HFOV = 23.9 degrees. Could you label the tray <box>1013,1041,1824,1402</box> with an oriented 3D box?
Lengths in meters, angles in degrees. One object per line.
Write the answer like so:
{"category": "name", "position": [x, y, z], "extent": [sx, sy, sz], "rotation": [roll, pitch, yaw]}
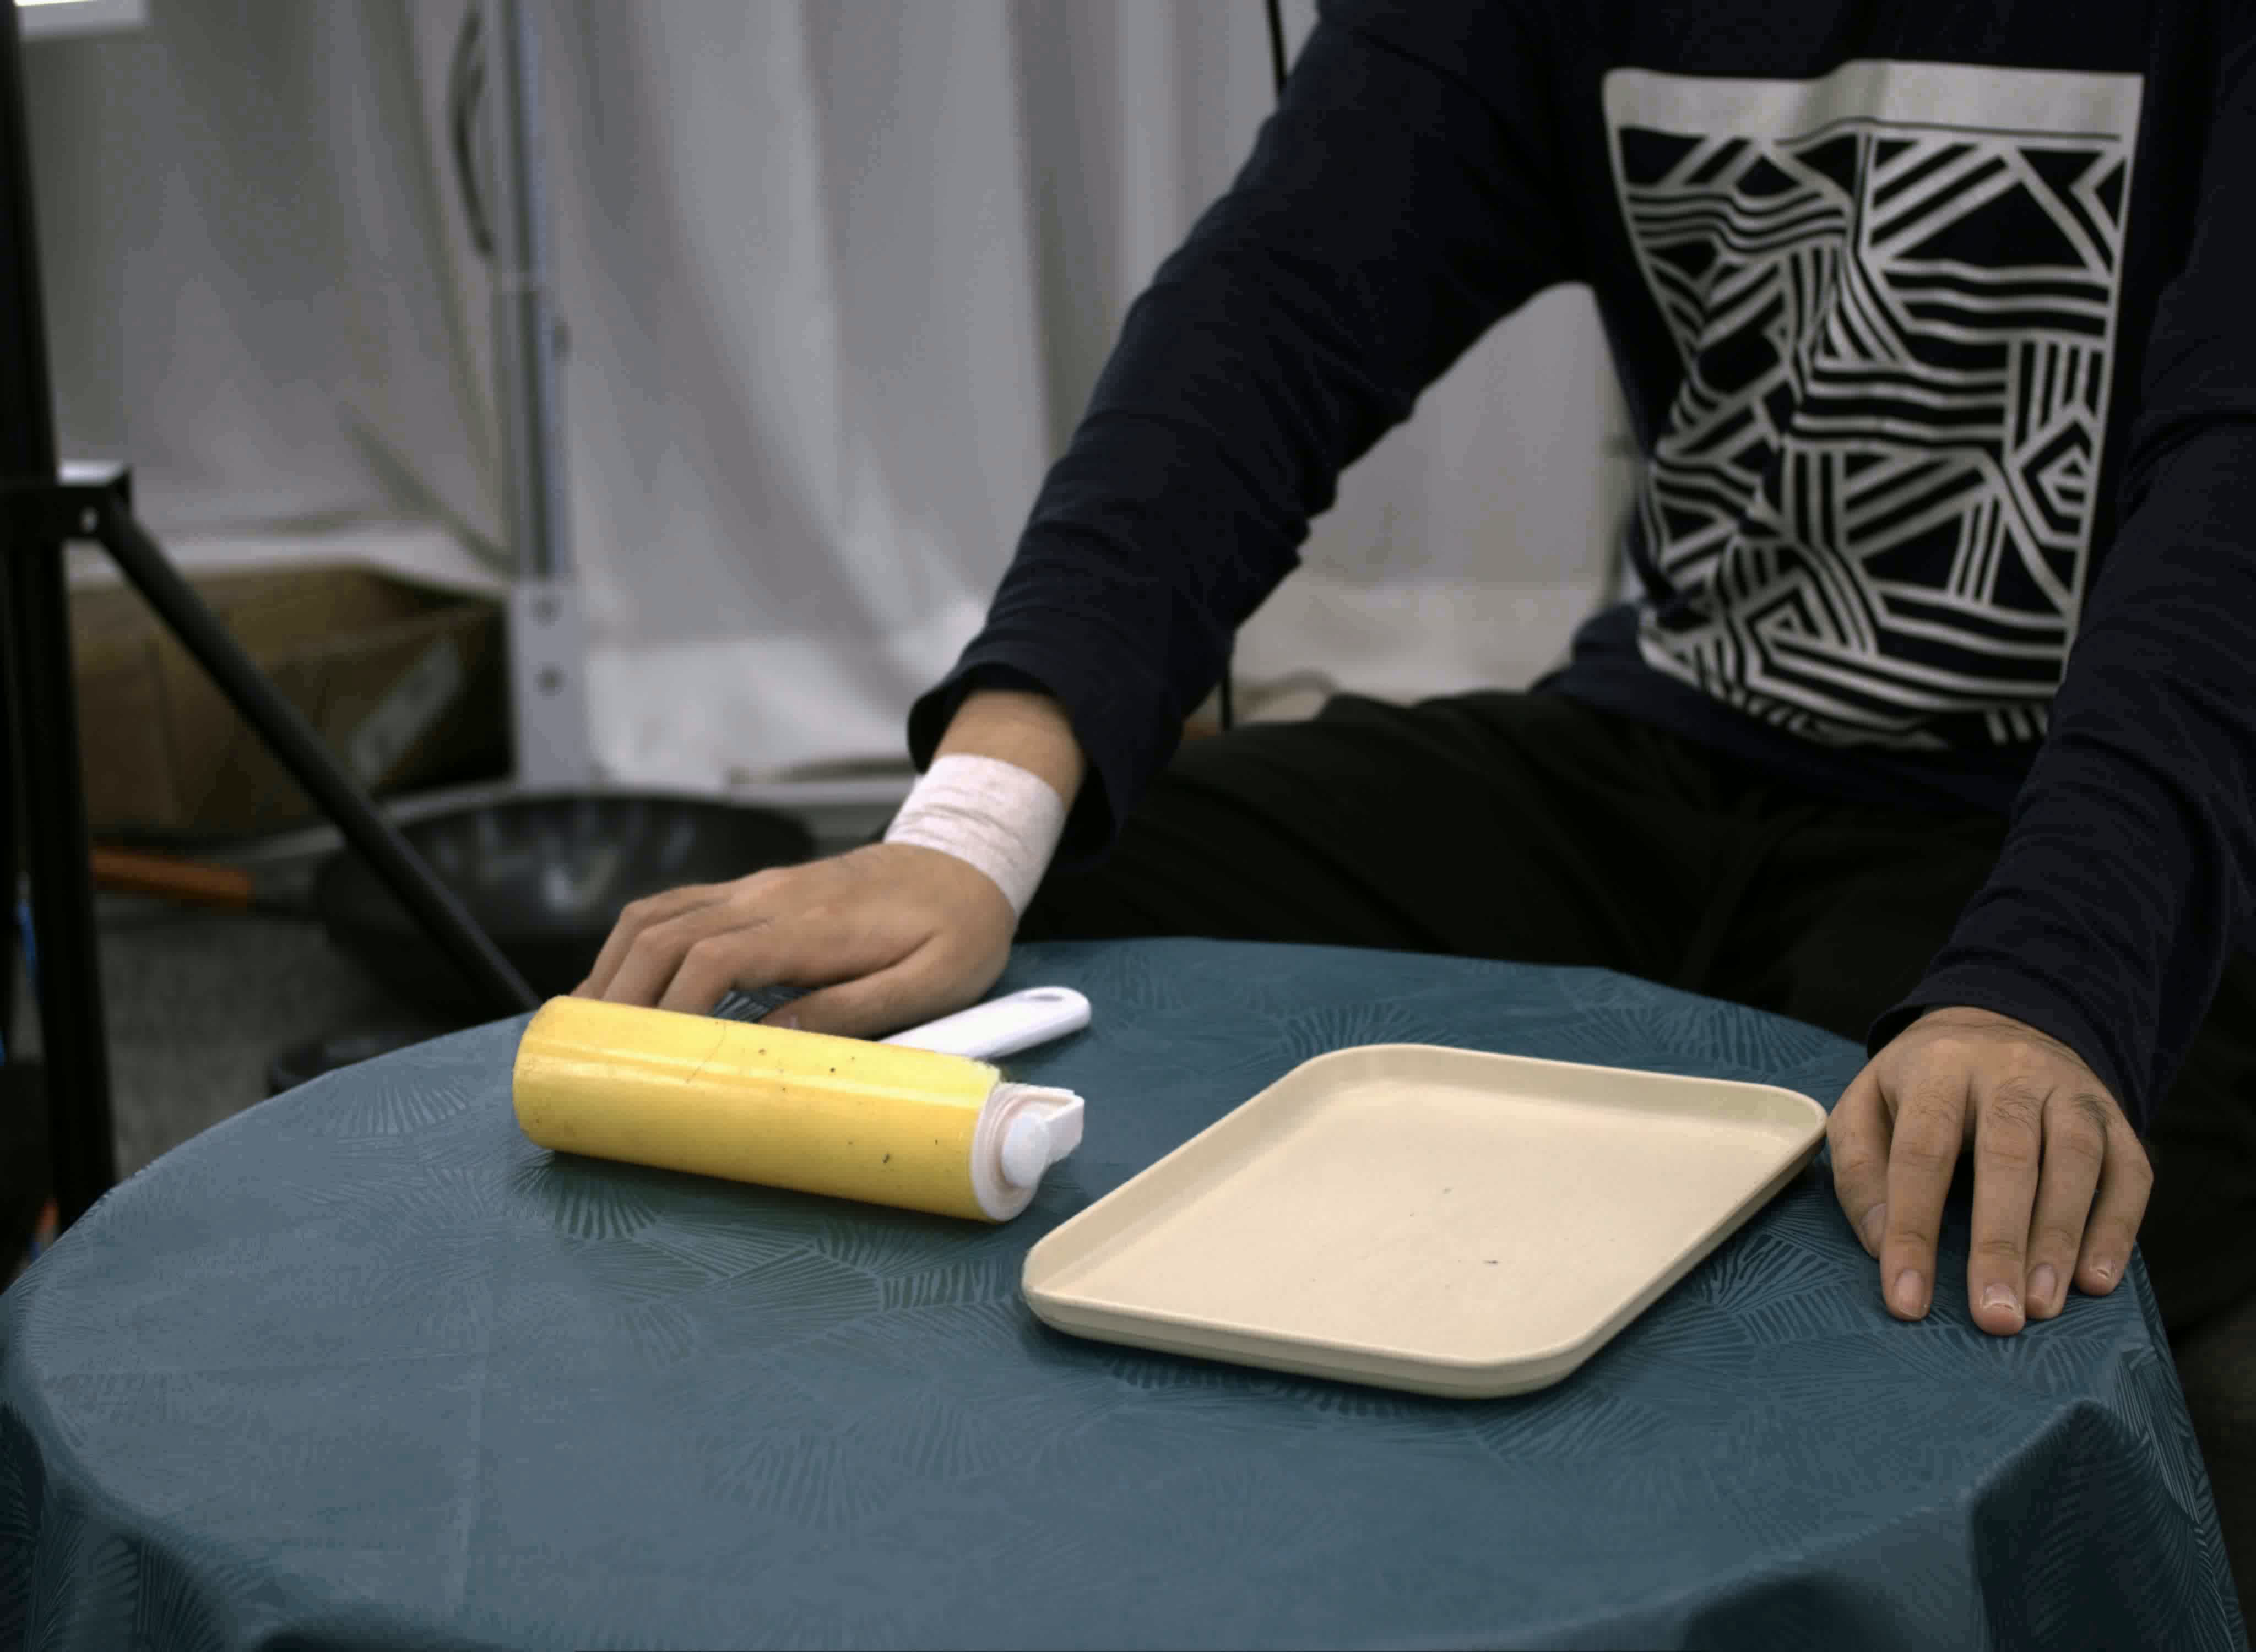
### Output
{"category": "tray", "position": [0.087, 0.111, 1.506], "extent": [0.174, 0.017, 0.235], "rotation": [7, 18, 28]}

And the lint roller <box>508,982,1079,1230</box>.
{"category": "lint roller", "position": [-0.072, 0.065, 1.638], "extent": [0.177, 0.051, 0.189], "rotation": [7, 21, 28]}
